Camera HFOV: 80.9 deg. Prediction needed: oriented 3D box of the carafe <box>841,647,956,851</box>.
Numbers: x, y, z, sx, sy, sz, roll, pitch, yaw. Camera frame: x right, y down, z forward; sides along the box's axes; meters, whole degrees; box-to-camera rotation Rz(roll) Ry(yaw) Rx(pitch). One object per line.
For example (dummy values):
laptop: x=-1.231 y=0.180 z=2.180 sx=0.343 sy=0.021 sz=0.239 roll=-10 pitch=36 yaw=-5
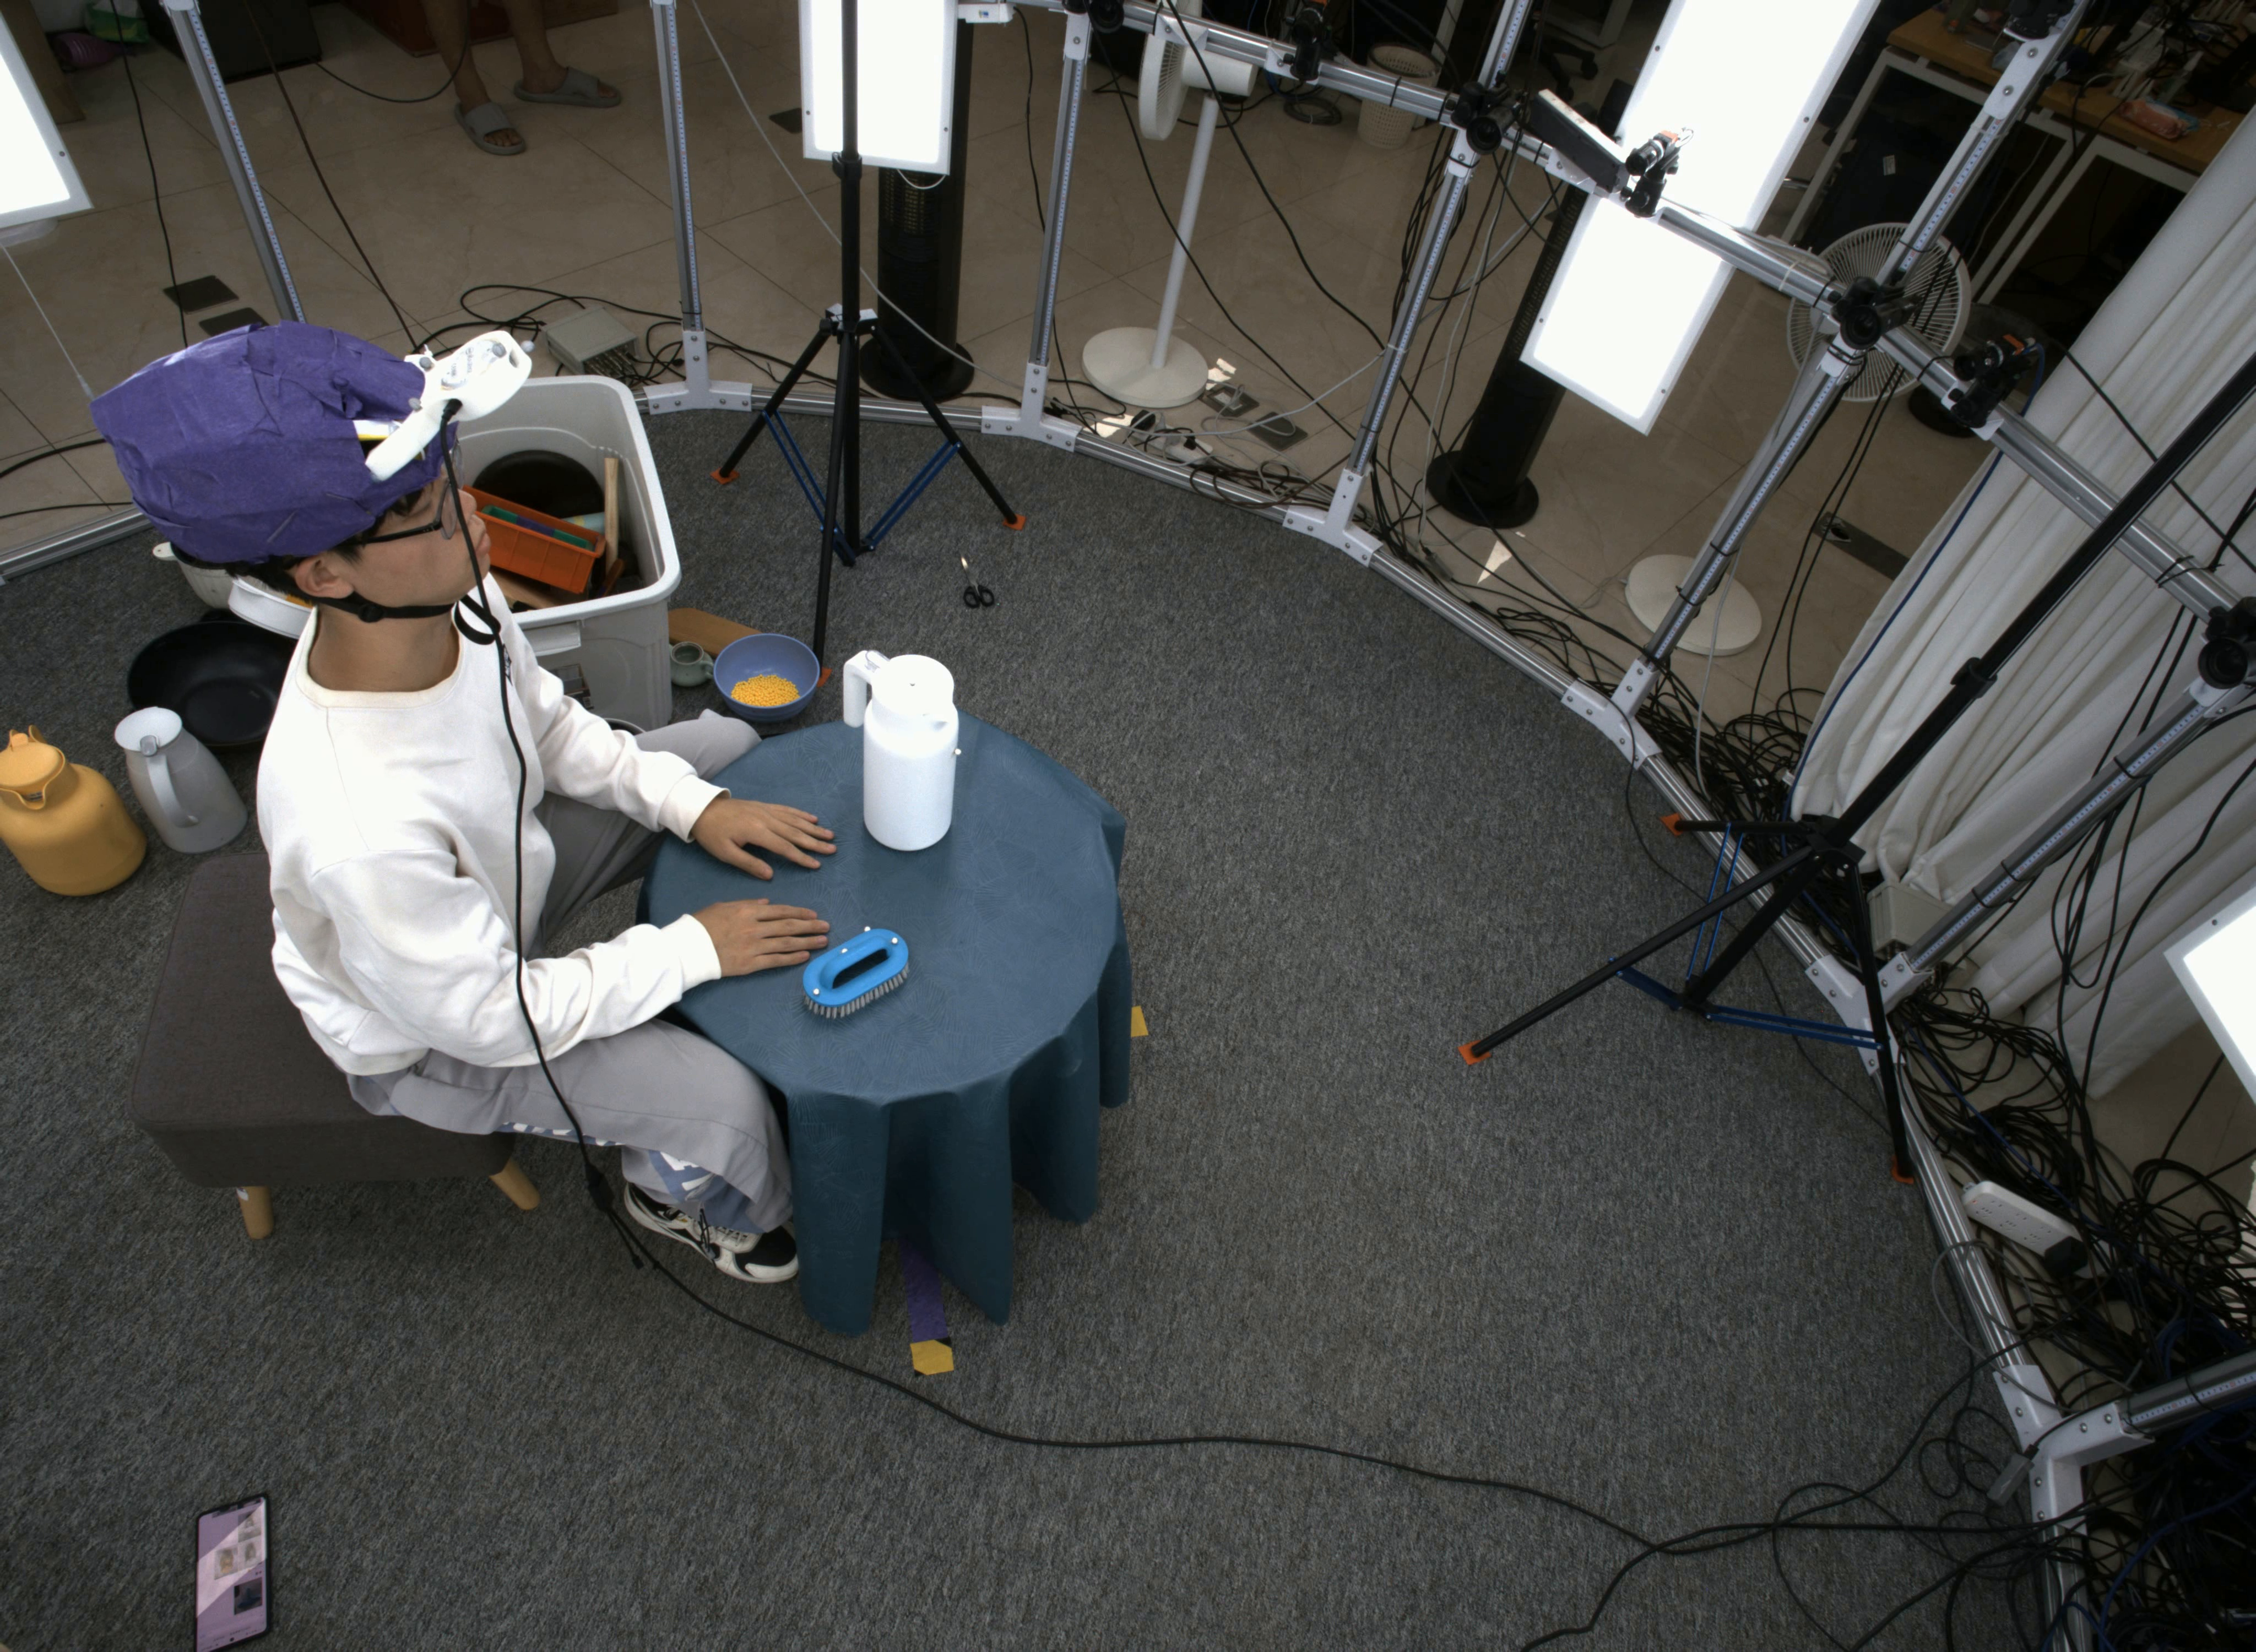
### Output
carafe: x=-0.296 y=-0.102 z=1.669 sx=0.169 sy=0.275 sz=0.124 roll=33 pitch=56 yaw=15

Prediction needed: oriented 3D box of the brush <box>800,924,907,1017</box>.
brush: x=-0.333 y=0.169 z=1.588 sx=0.142 sy=0.065 sz=0.083 roll=-29 pitch=69 yaw=-28
